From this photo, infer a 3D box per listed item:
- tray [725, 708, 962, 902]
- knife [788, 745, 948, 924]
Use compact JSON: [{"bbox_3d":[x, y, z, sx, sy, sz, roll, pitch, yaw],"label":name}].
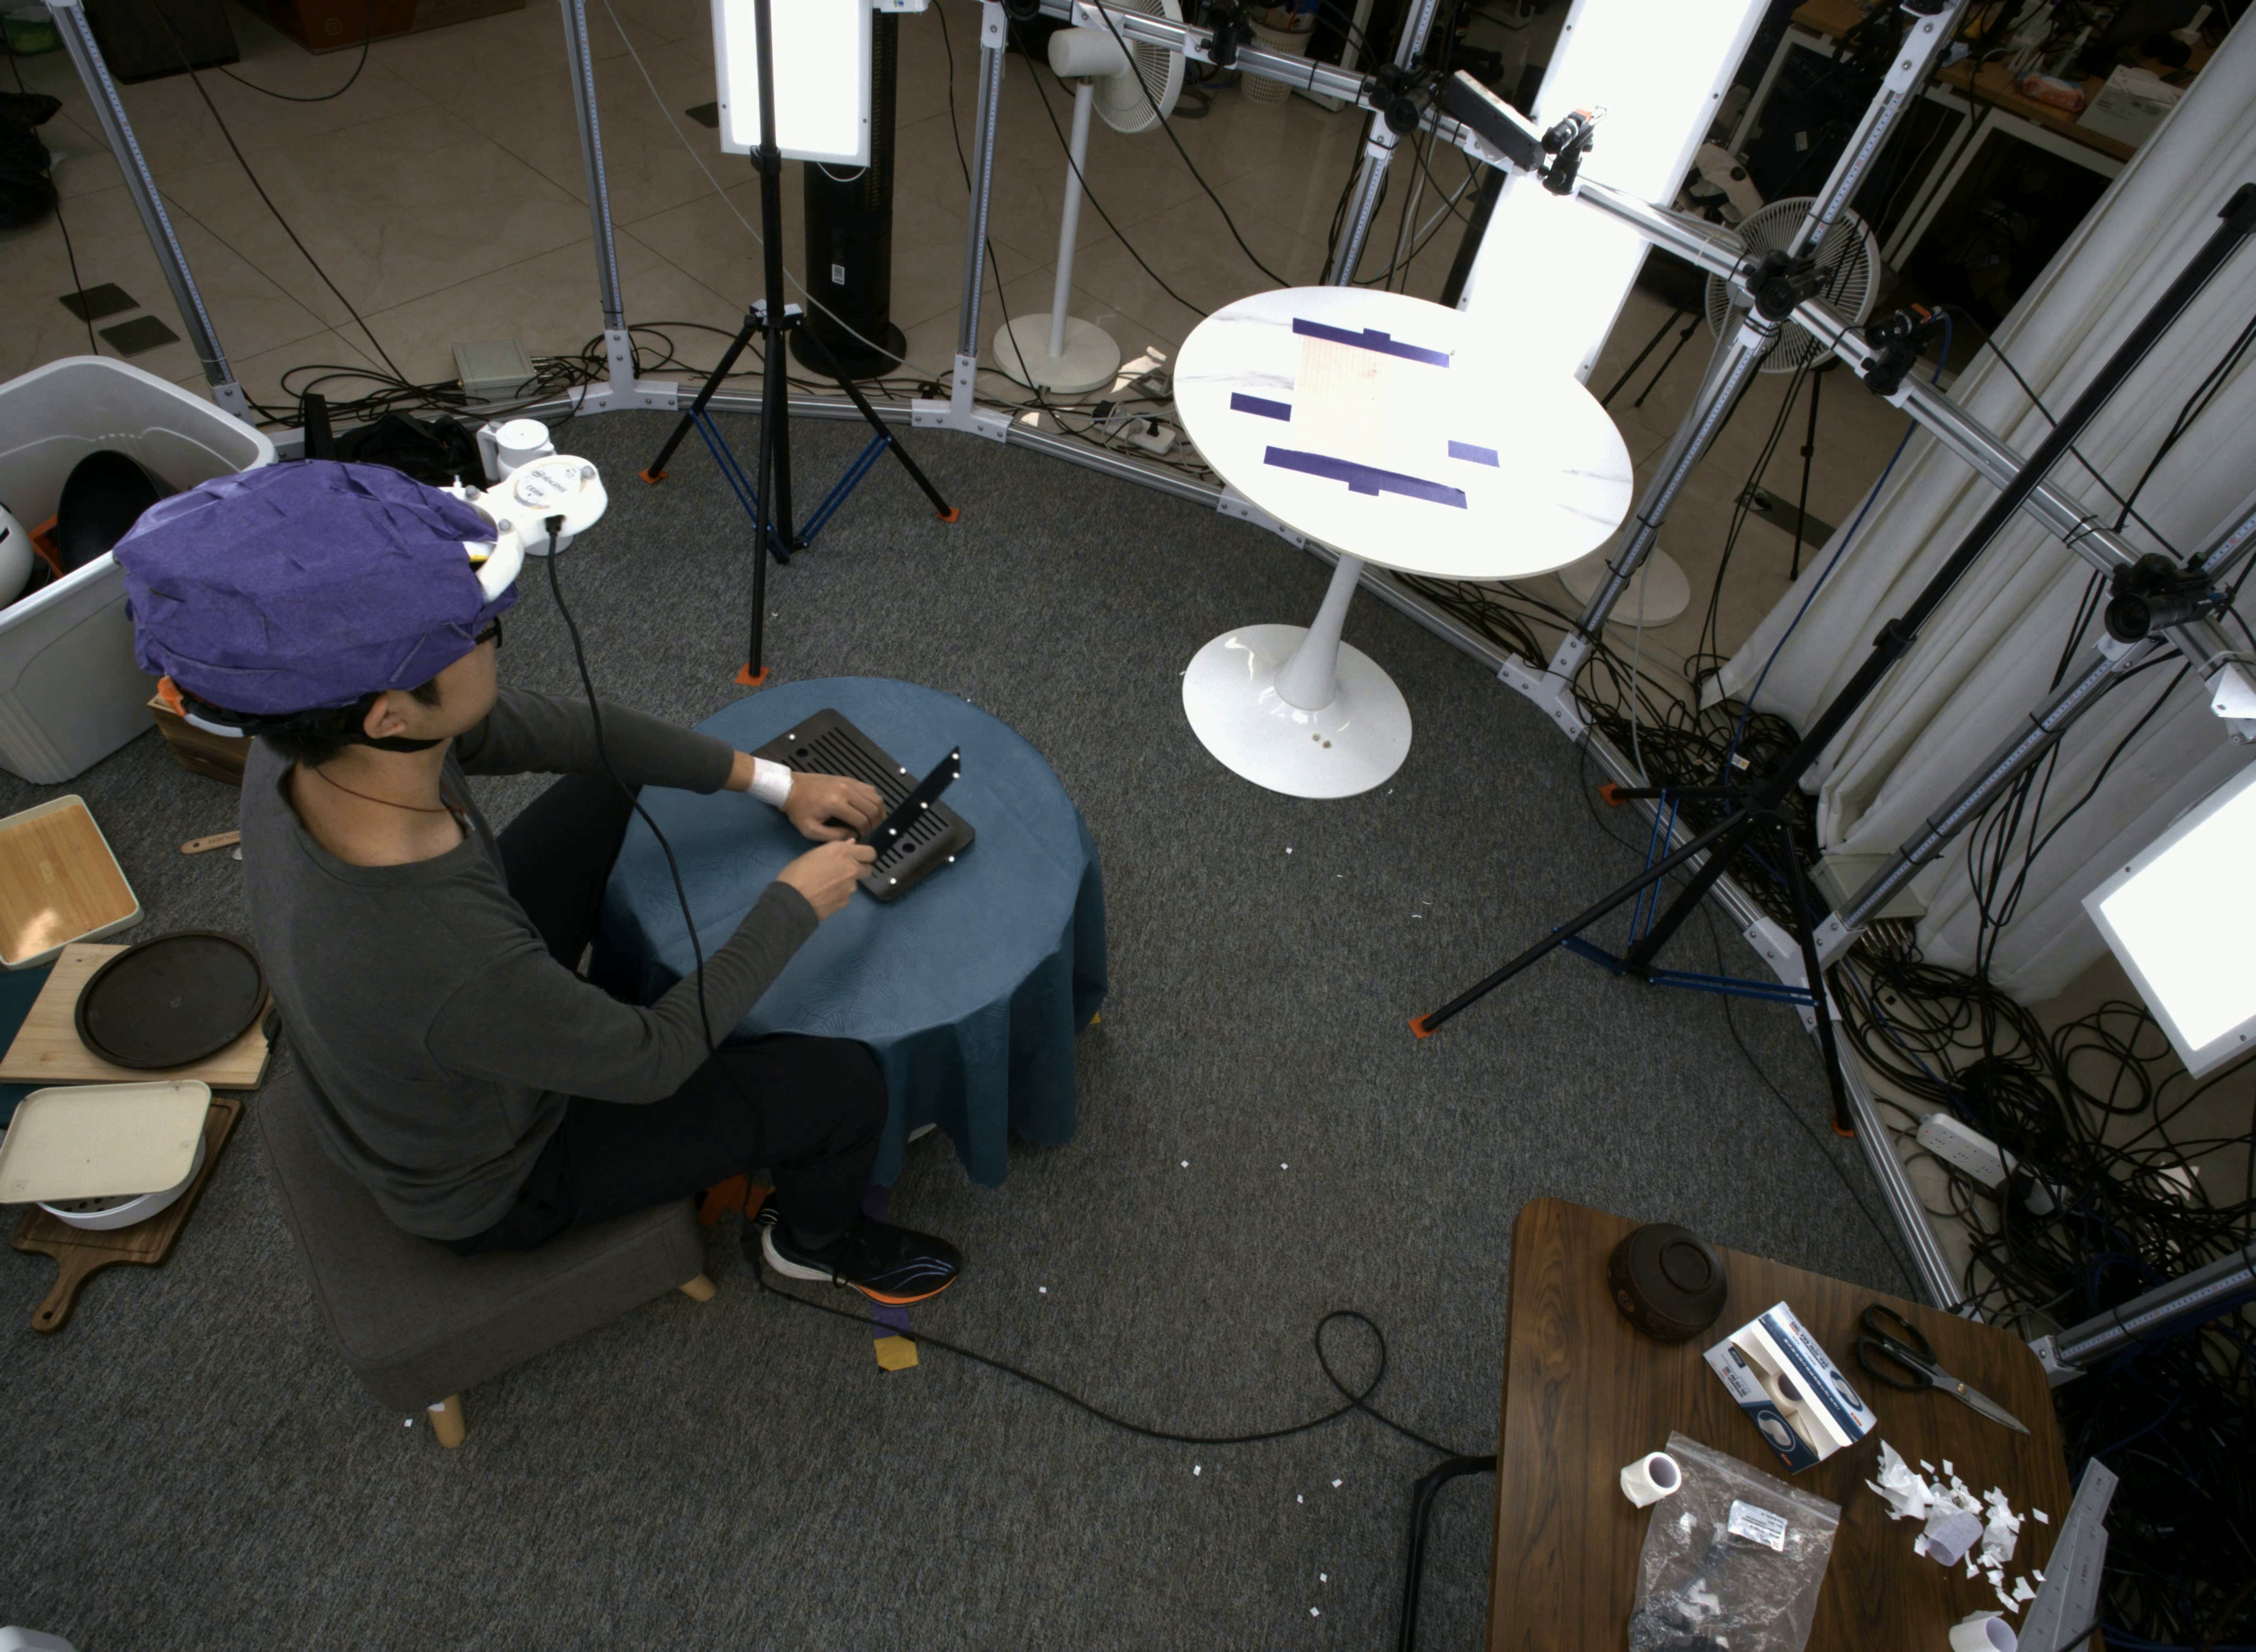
[{"bbox_3d":[-0.385,-0.032,1.757,0.299,0.019,0.170,39,55,15],"label":"tray"},{"bbox_3d":[-0.319,0.011,1.625,0.020,0.083,0.302,28,54,18],"label":"knife"}]
